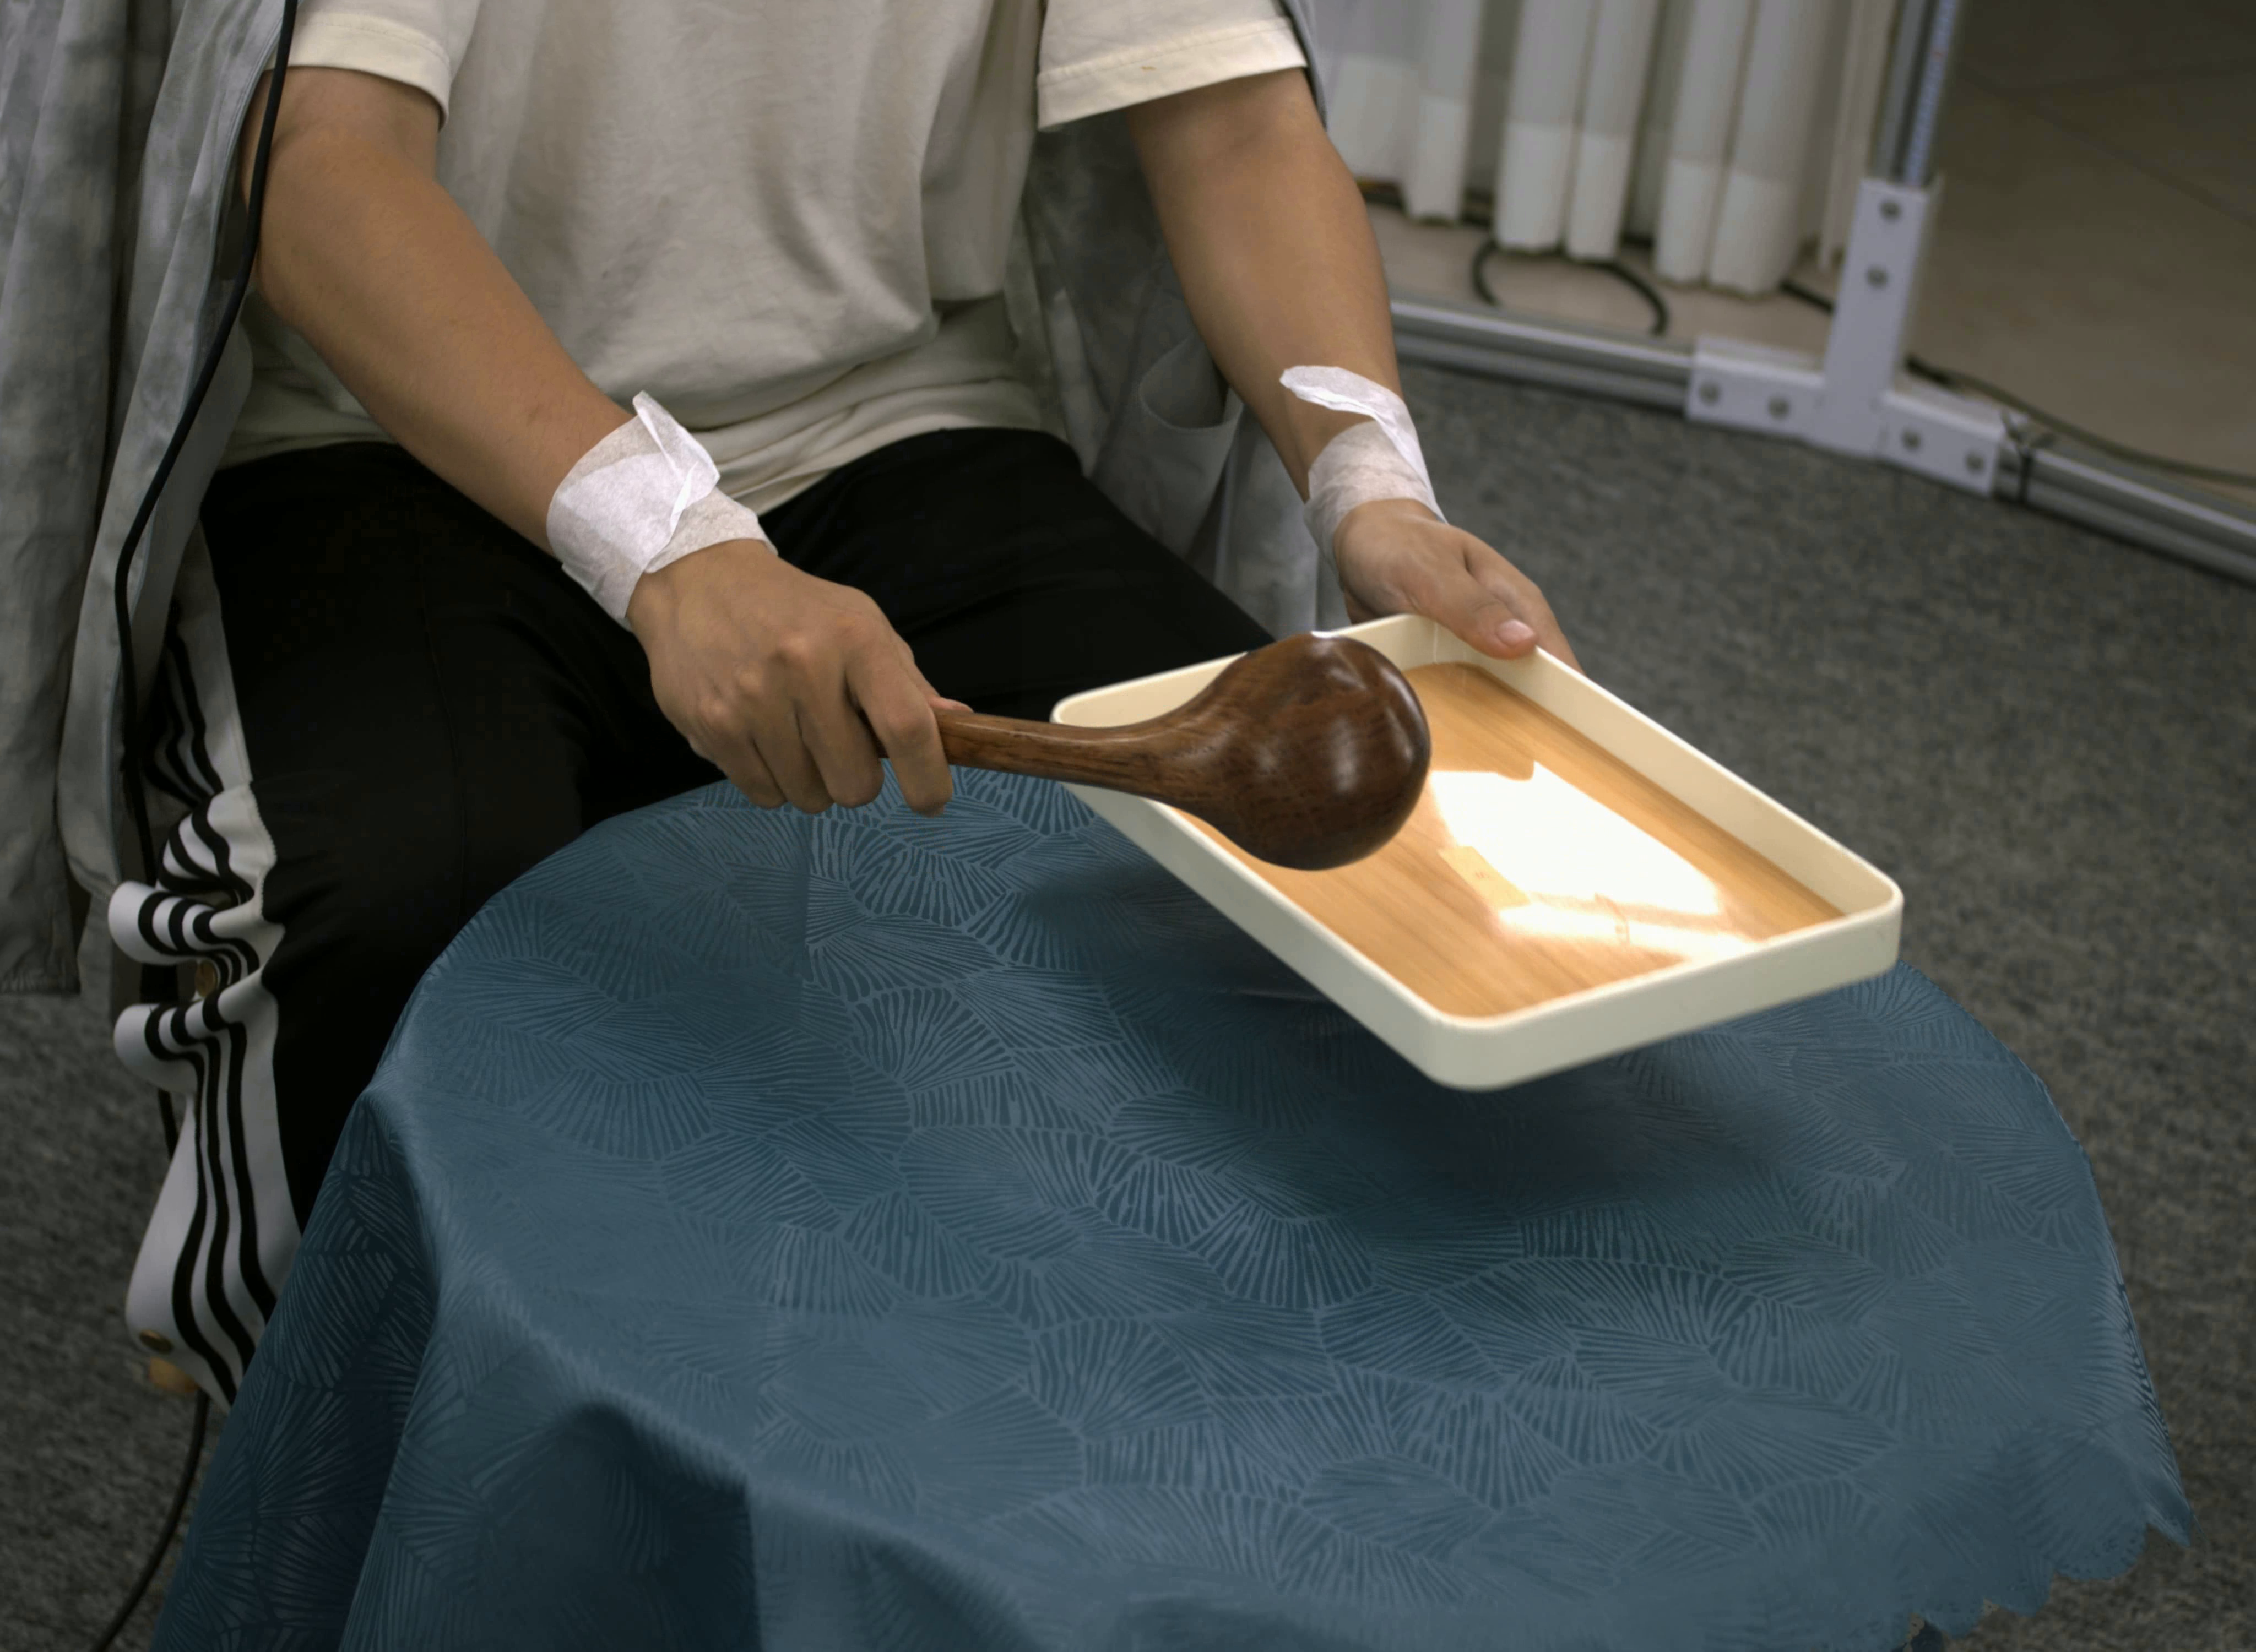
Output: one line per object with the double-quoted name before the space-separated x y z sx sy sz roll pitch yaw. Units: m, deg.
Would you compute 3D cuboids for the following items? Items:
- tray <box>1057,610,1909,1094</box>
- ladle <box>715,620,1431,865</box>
"tray" 0.121 0.004 1.909 0.190 0.027 0.303 -15 29 -24
"ladle" -0.020 -0.034 1.840 0.275 0.082 0.076 5 9 40
